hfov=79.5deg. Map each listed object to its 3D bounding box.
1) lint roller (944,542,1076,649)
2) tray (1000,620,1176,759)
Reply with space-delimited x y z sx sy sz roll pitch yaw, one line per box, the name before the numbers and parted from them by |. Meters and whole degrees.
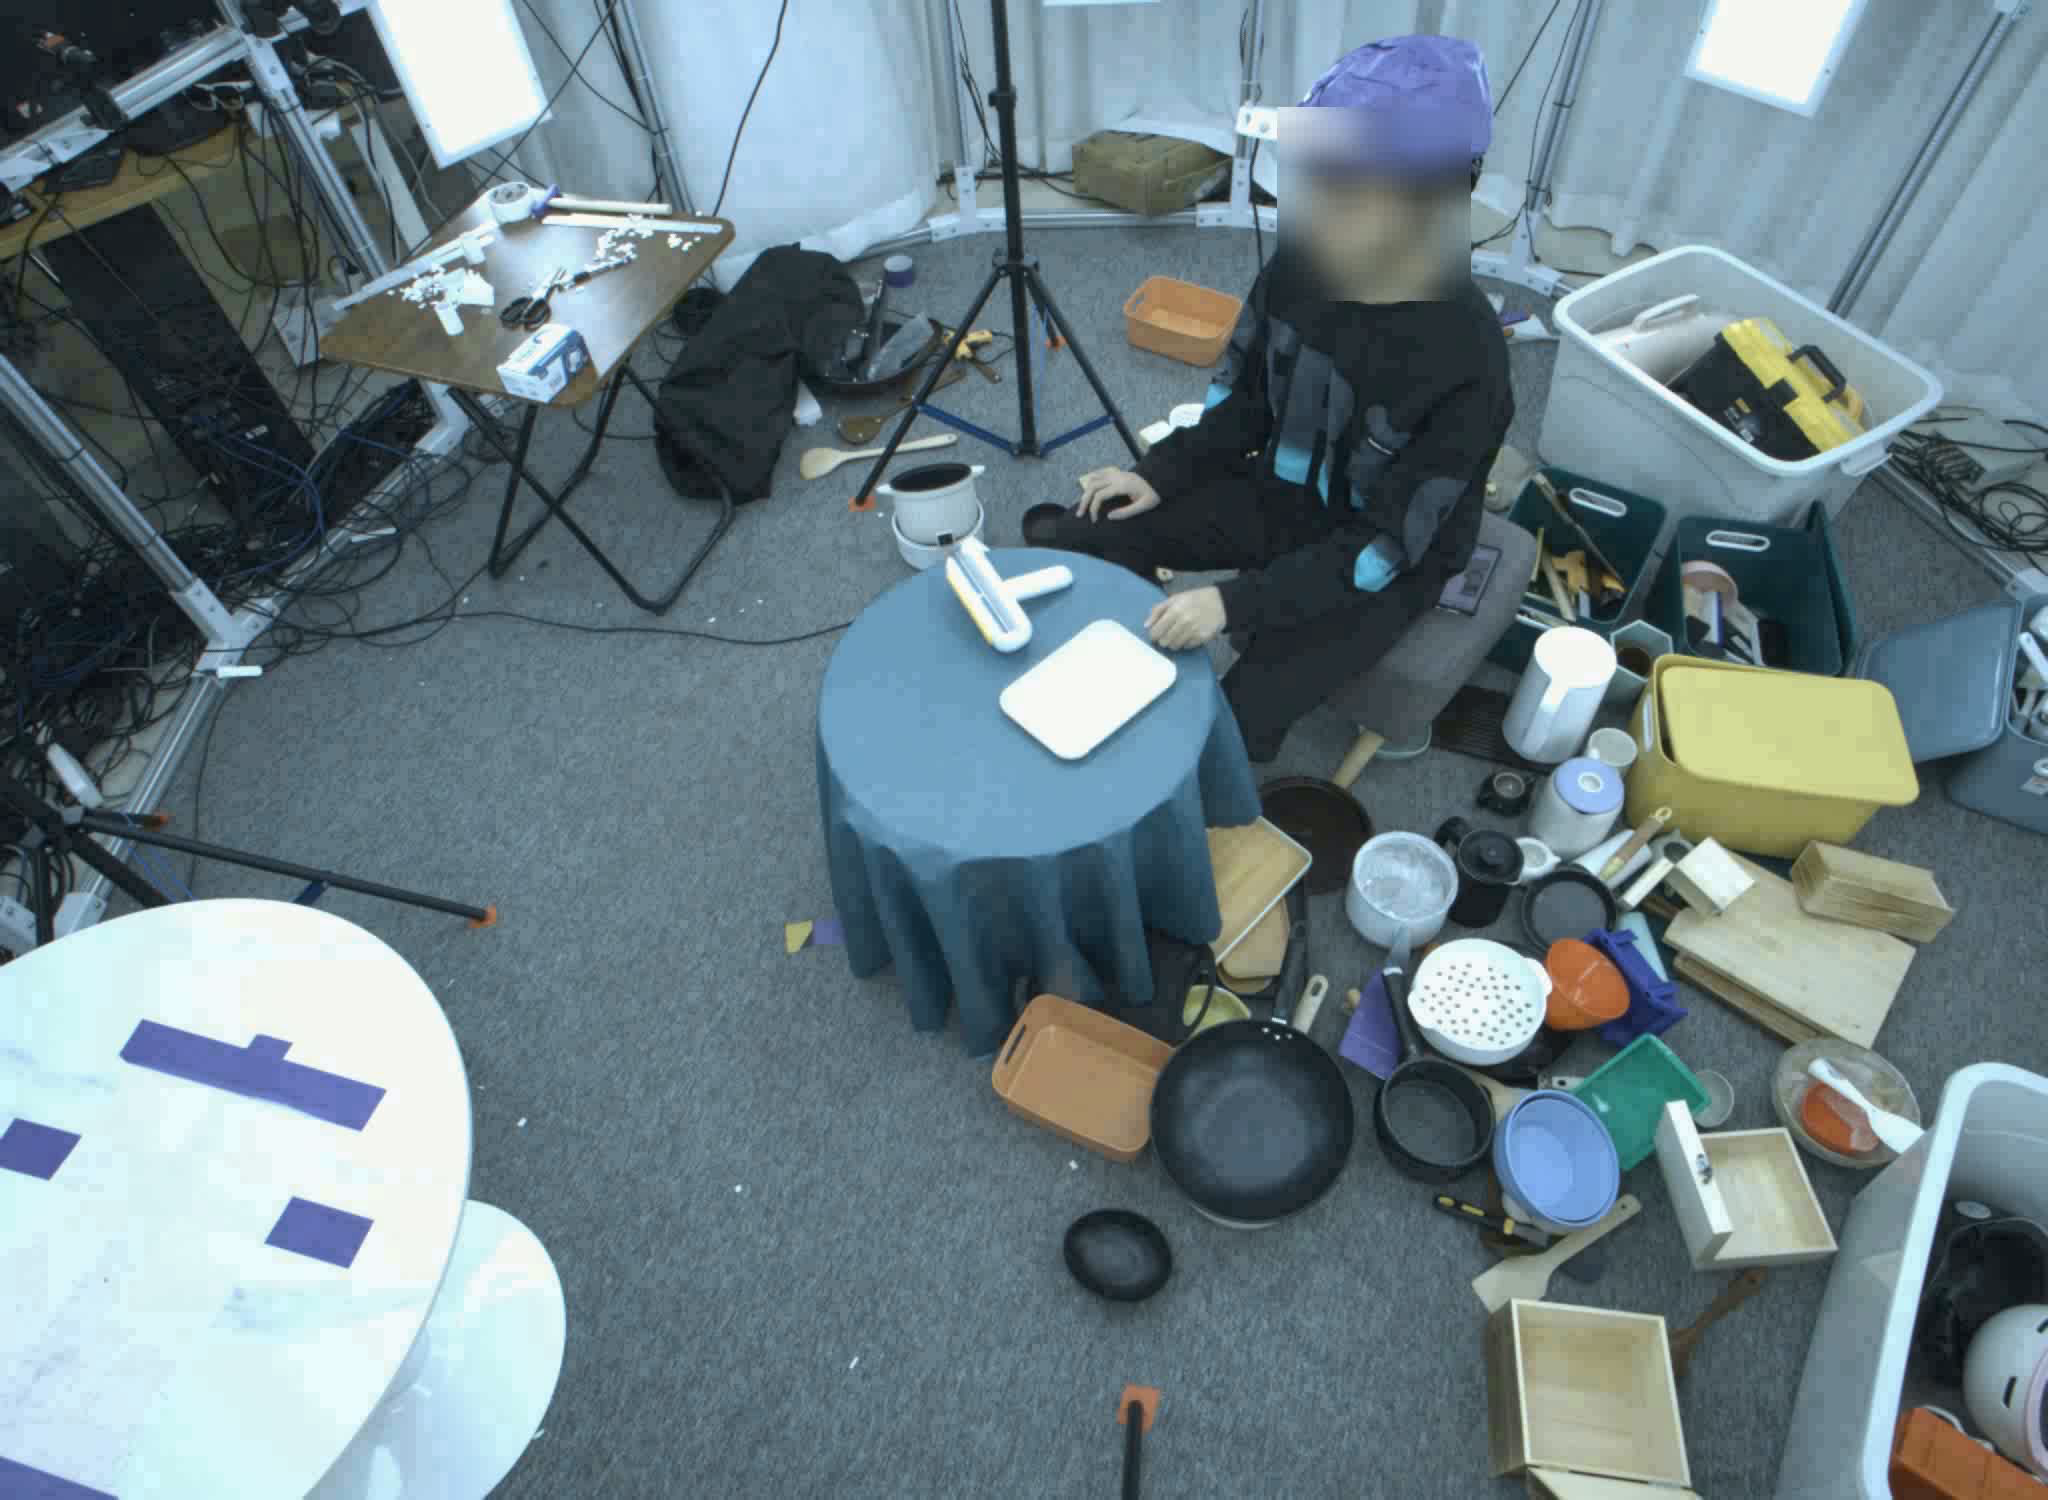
lint roller | -0.007 -0.257 1.924 0.194 0.075 0.189 -23 62 -15
tray | 0.096 -0.092 1.834 0.241 0.017 0.168 -38 61 -22
